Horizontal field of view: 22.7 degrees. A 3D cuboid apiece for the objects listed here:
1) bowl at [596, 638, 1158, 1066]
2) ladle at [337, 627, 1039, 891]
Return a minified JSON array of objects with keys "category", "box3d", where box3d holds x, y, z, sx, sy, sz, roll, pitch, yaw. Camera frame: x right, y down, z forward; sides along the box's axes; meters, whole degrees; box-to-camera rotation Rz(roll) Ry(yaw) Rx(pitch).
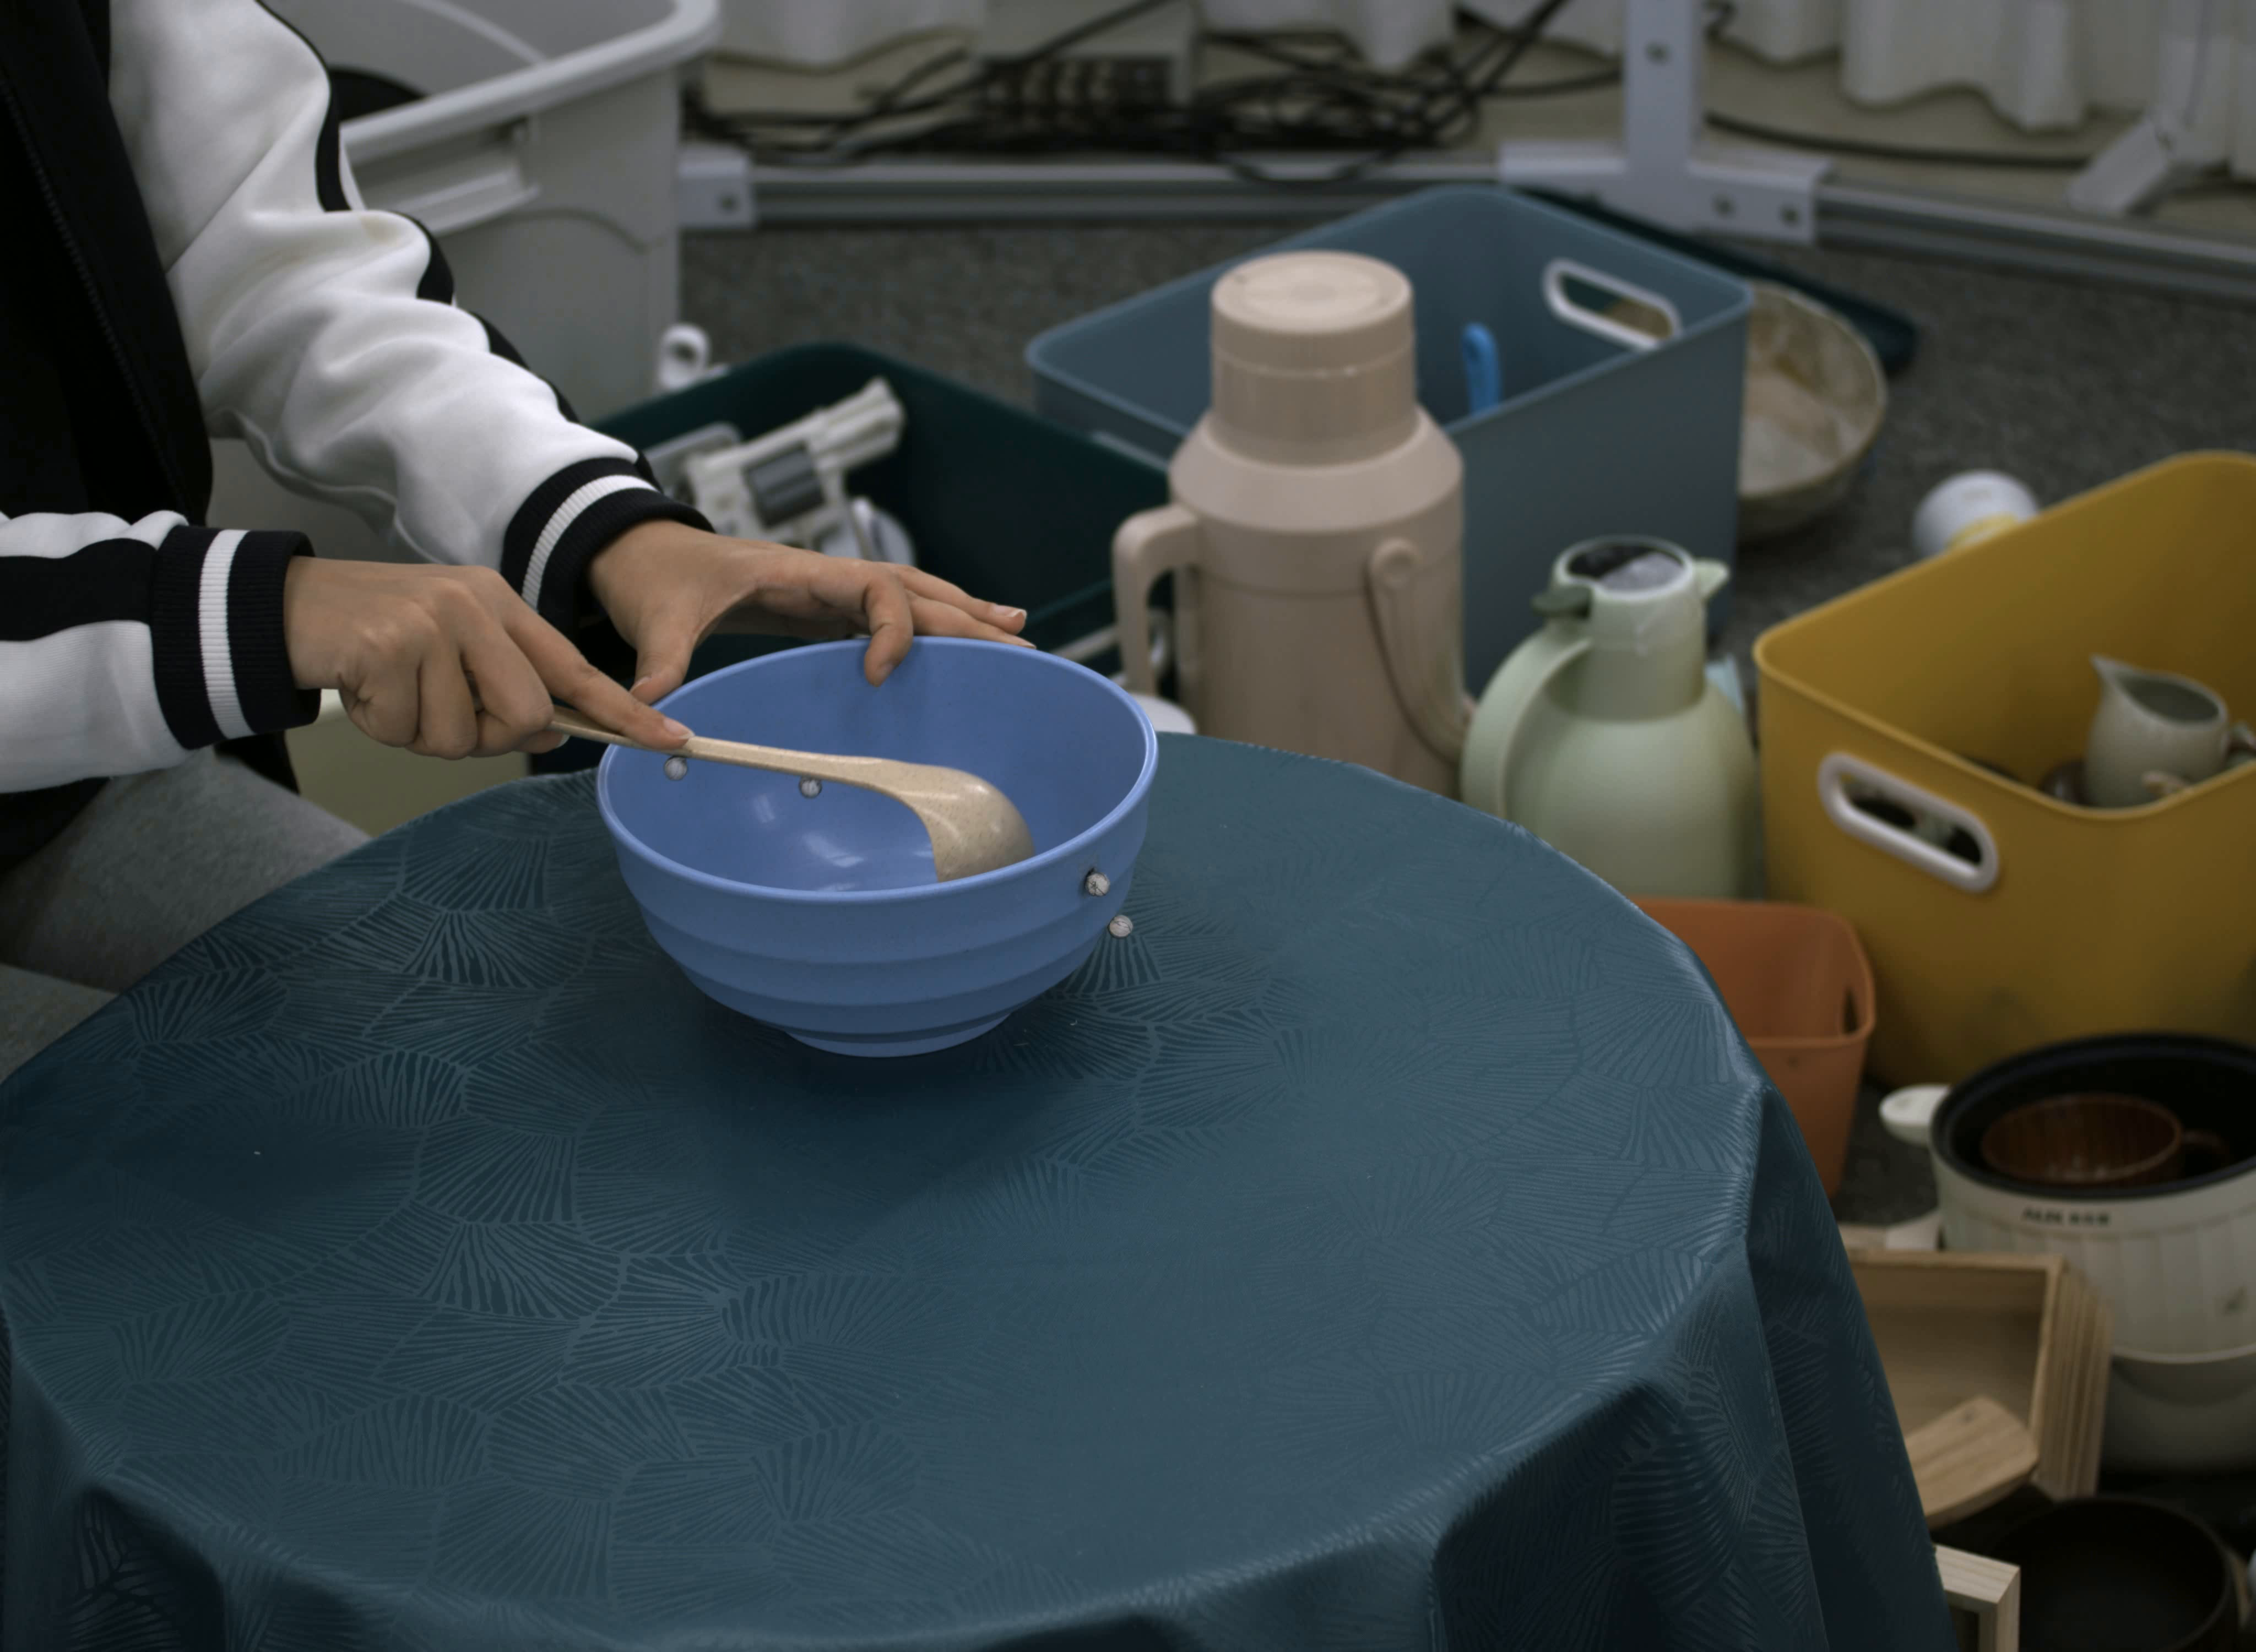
[{"category":"bowl","box3d":[-0.084,0.021,1.969,0.195,0.094,0.199,-3,28,2]},{"category":"ladle","box3d":[-0.157,-0.005,1.944,0.253,0.072,0.073,14,29,-10]}]
